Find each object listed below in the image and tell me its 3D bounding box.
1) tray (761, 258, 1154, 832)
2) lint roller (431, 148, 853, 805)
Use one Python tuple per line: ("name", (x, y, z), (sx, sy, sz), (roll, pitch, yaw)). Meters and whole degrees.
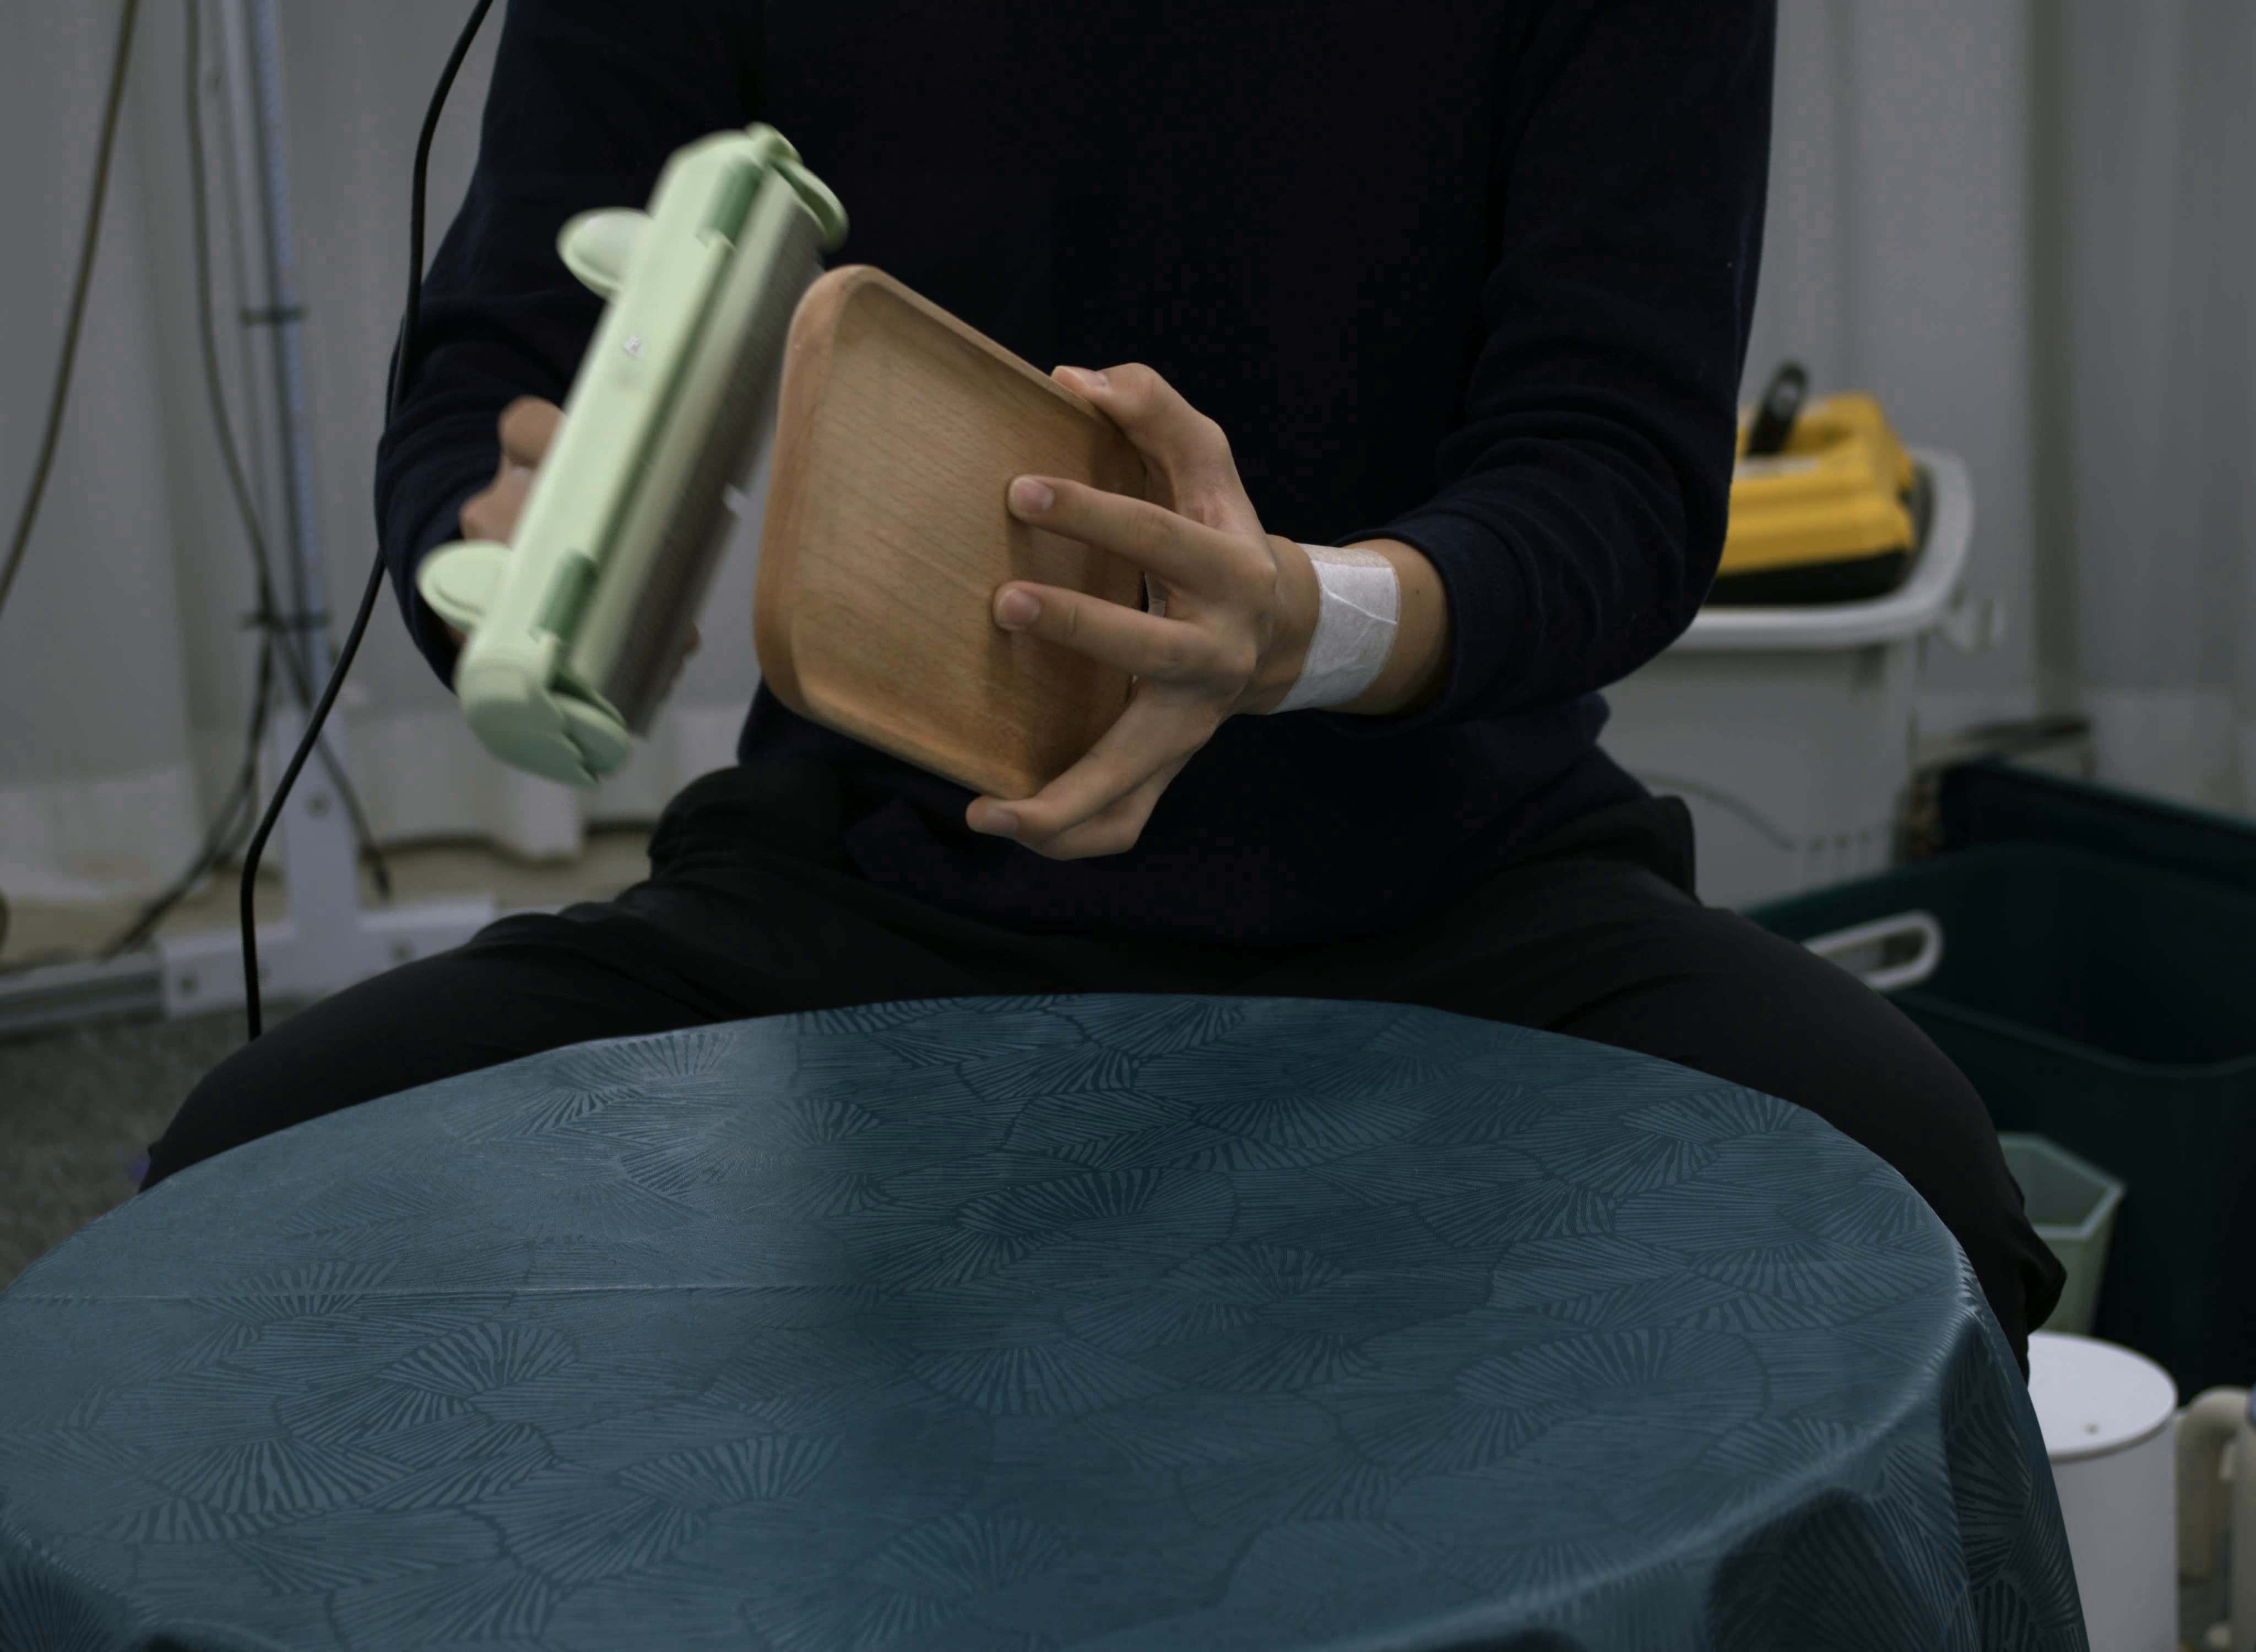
("tray", (-0.046, -0.078, 1.589), (0.023, 0.131, 0.249), (6, -8, 21))
("lint roller", (-0.160, -0.089, 1.623), (0.081, 0.201, 0.182), (27, -27, -14))
